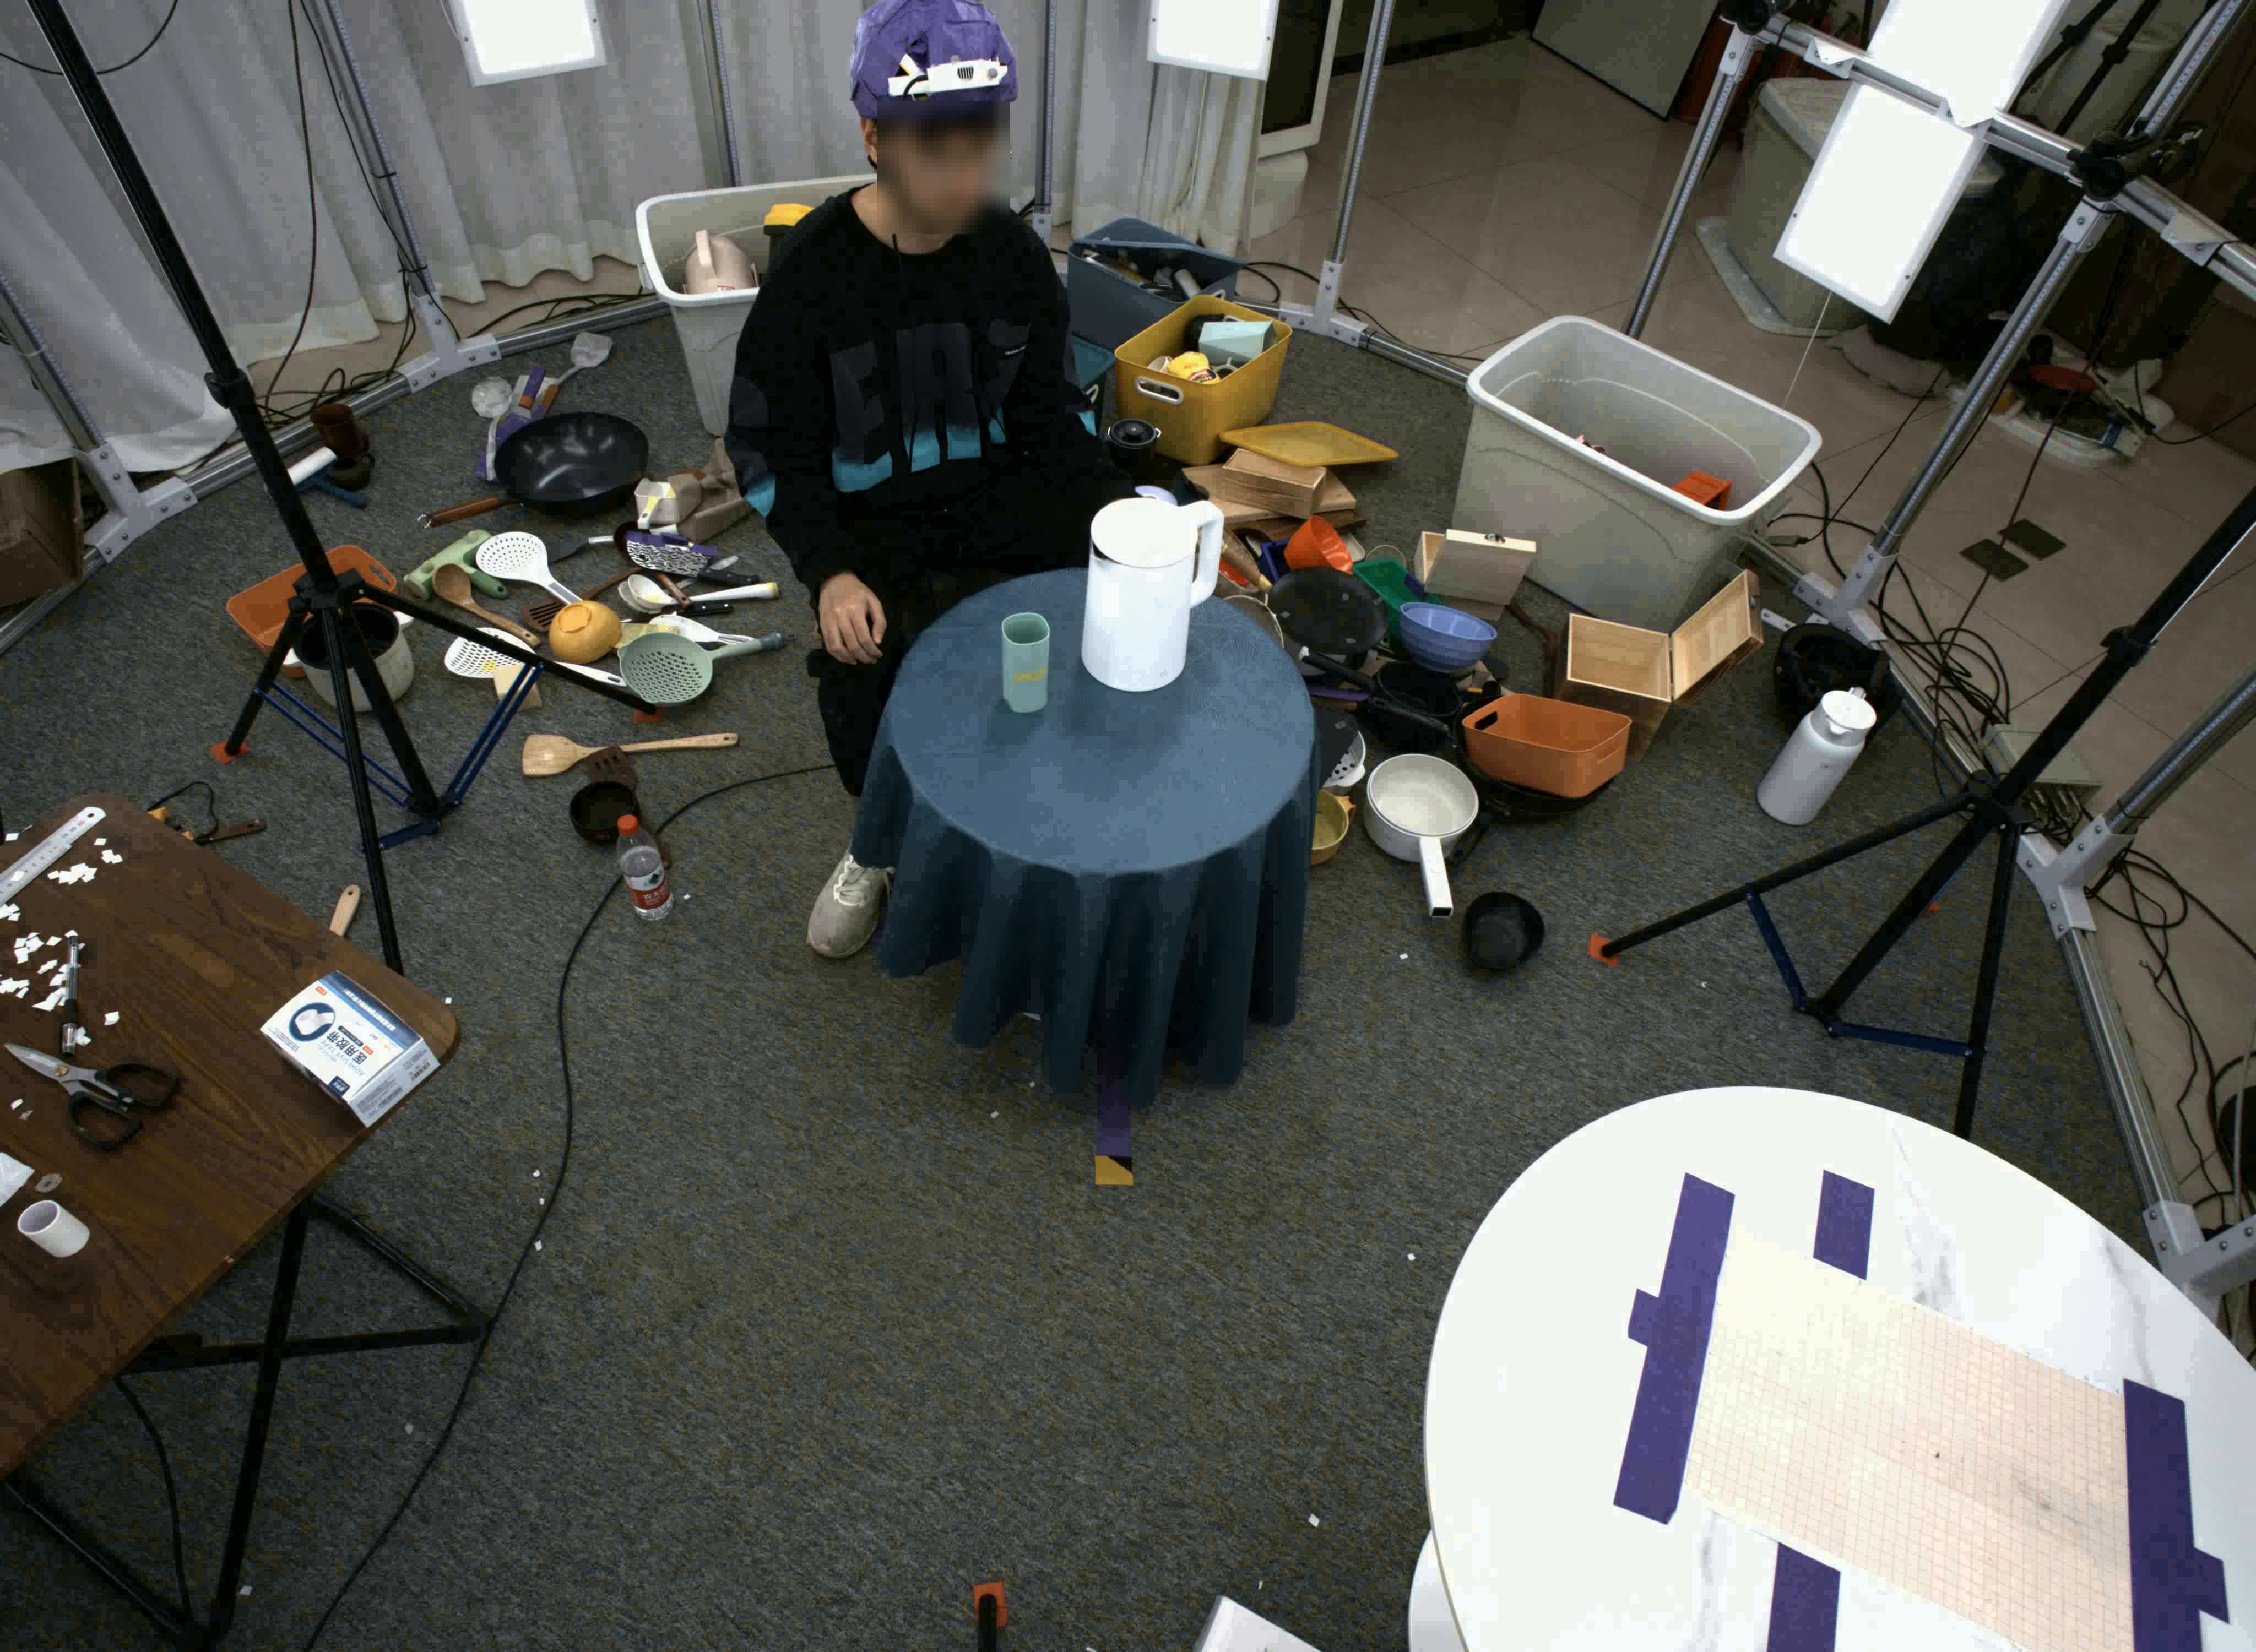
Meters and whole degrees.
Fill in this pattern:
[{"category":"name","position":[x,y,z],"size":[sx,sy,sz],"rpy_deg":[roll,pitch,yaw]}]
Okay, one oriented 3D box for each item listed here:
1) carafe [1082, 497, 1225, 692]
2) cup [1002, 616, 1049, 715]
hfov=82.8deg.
[{"category":"carafe","position":[0.037,-0.332,1.809],"size":[0.214,0.234,0.155],"rpy_deg":[-26,57,-23]},{"category":"cup","position":[-0.141,-0.221,1.771],"size":[0.066,0.129,0.068],"rpy_deg":[2,50,-2]}]
